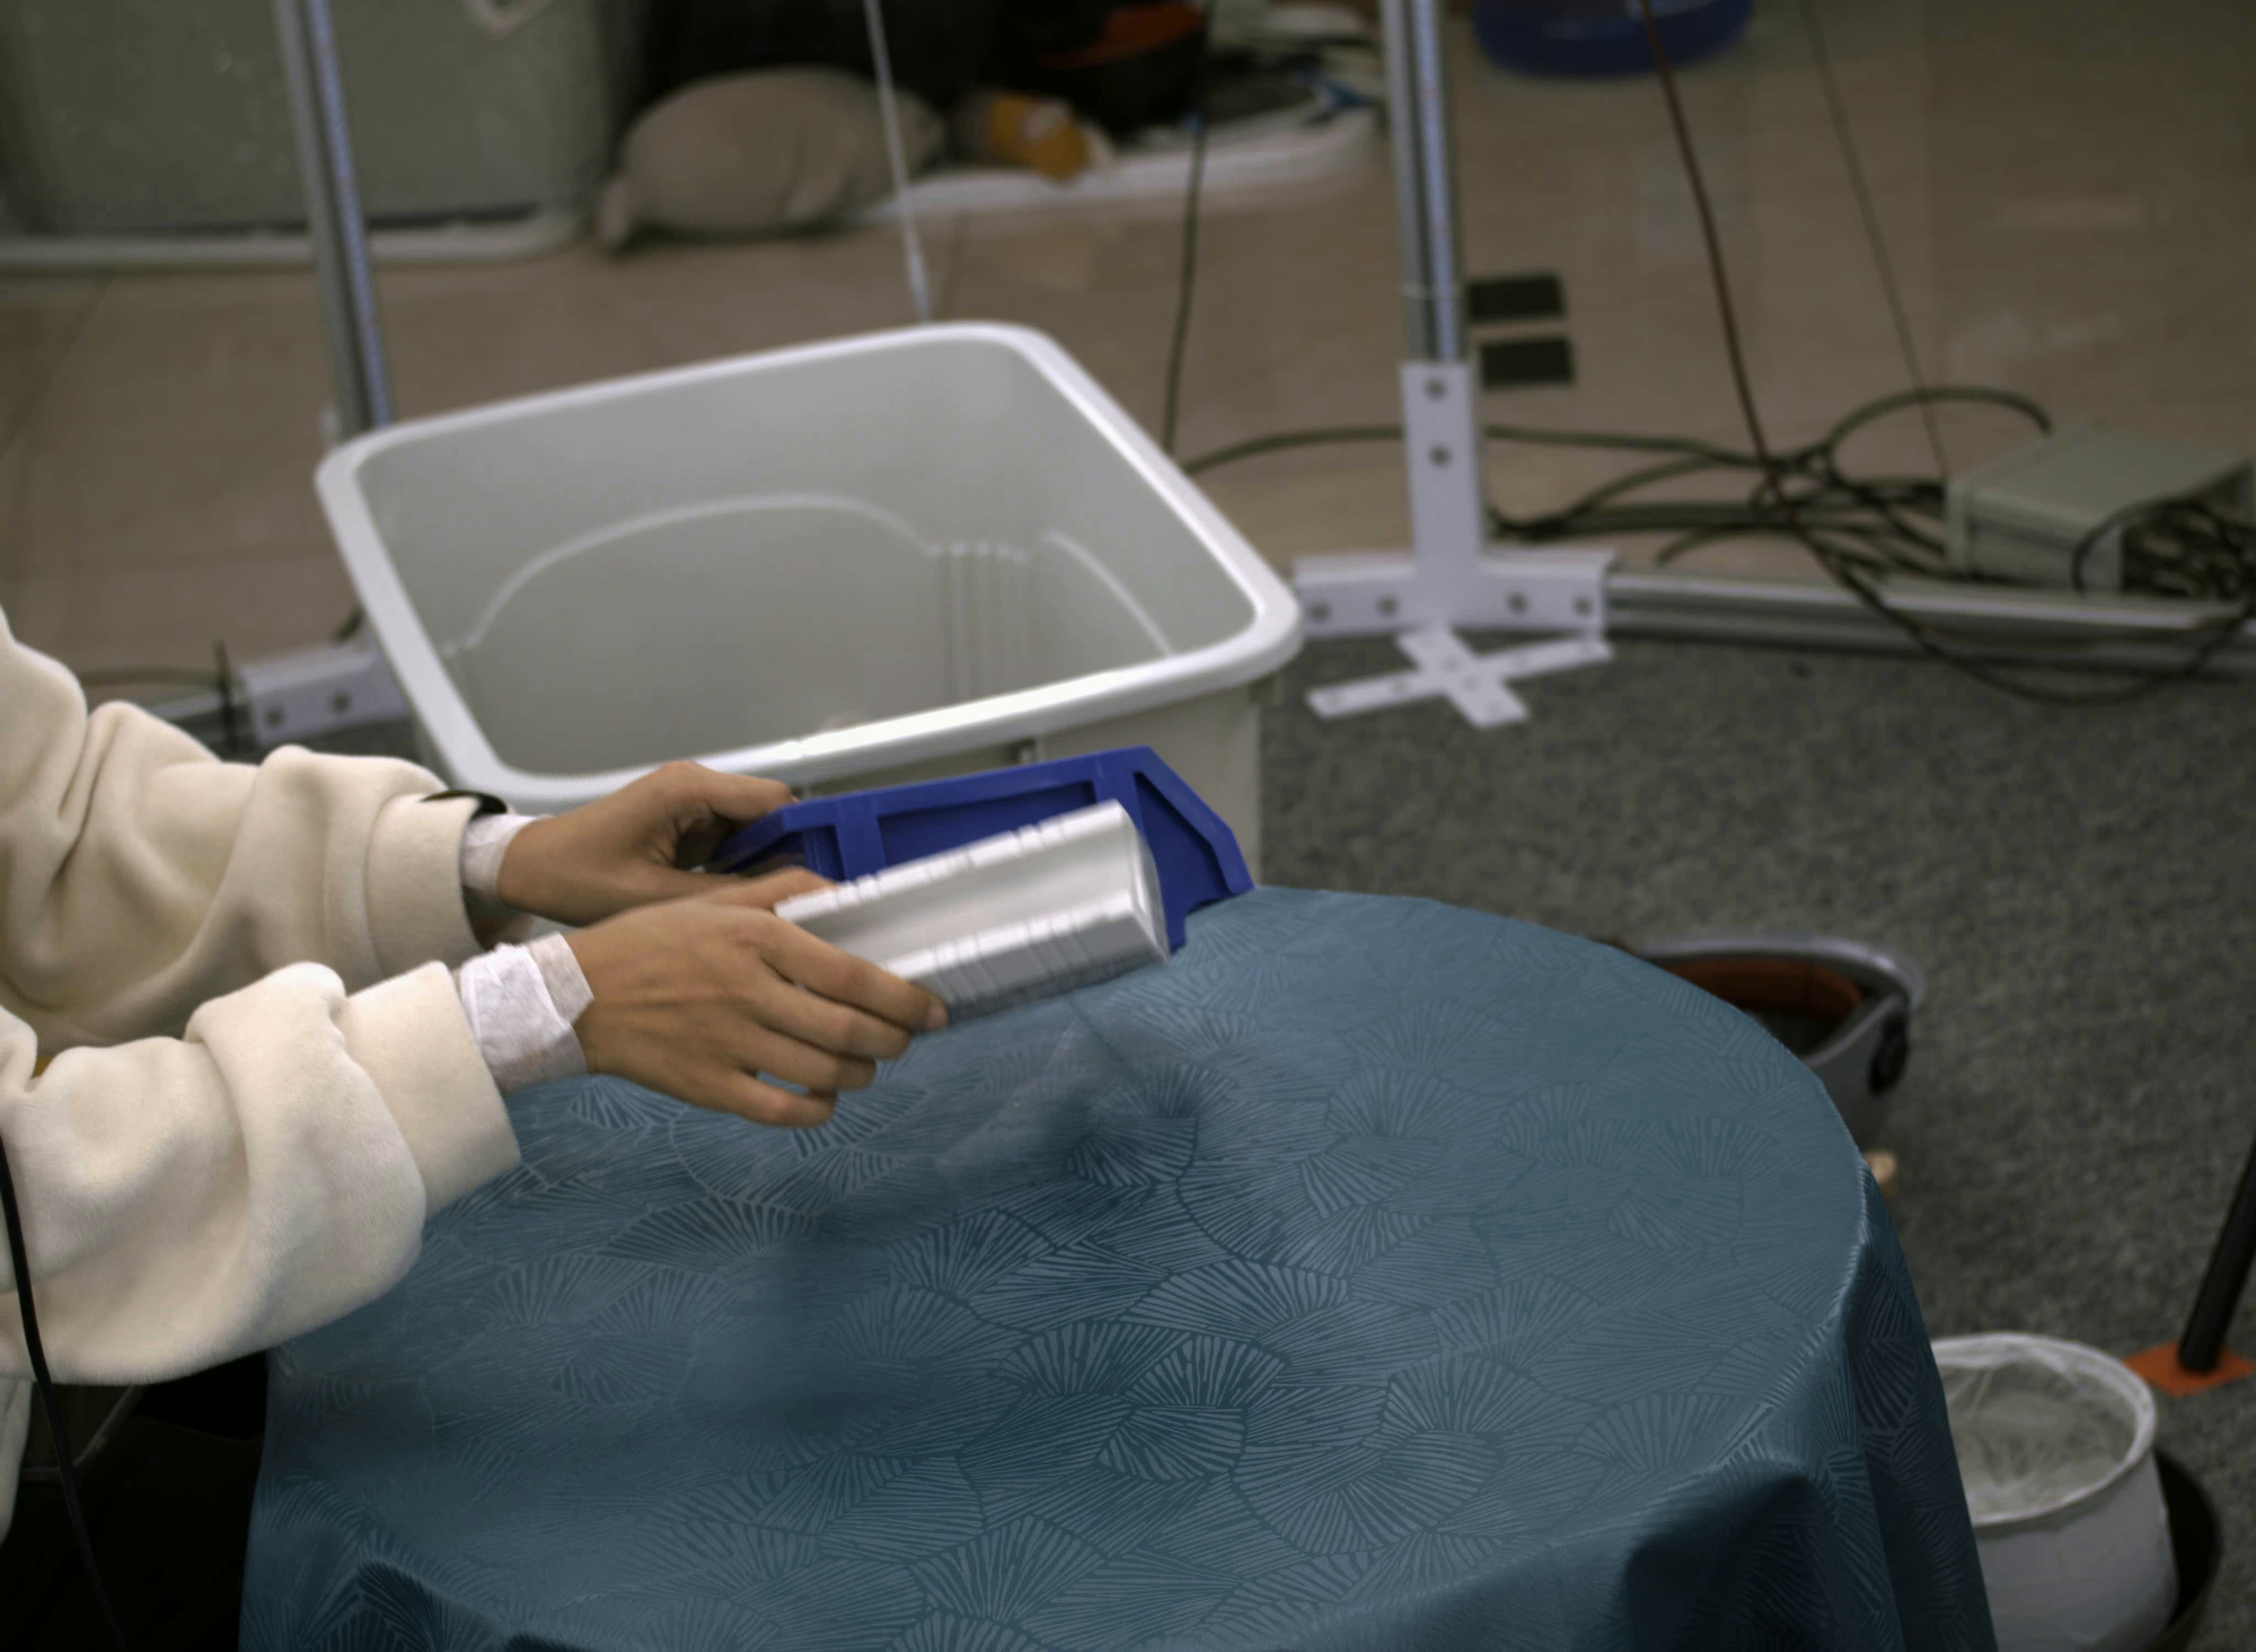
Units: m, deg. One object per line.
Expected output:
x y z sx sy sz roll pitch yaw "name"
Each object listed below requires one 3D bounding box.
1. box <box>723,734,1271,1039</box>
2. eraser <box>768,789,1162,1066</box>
-0.051 0.024 2.188 0.179 0.082 0.125 -12 -6 -19 "box"
-0.058 0.037 2.018 0.134 0.047 0.049 -19 57 13 "eraser"
